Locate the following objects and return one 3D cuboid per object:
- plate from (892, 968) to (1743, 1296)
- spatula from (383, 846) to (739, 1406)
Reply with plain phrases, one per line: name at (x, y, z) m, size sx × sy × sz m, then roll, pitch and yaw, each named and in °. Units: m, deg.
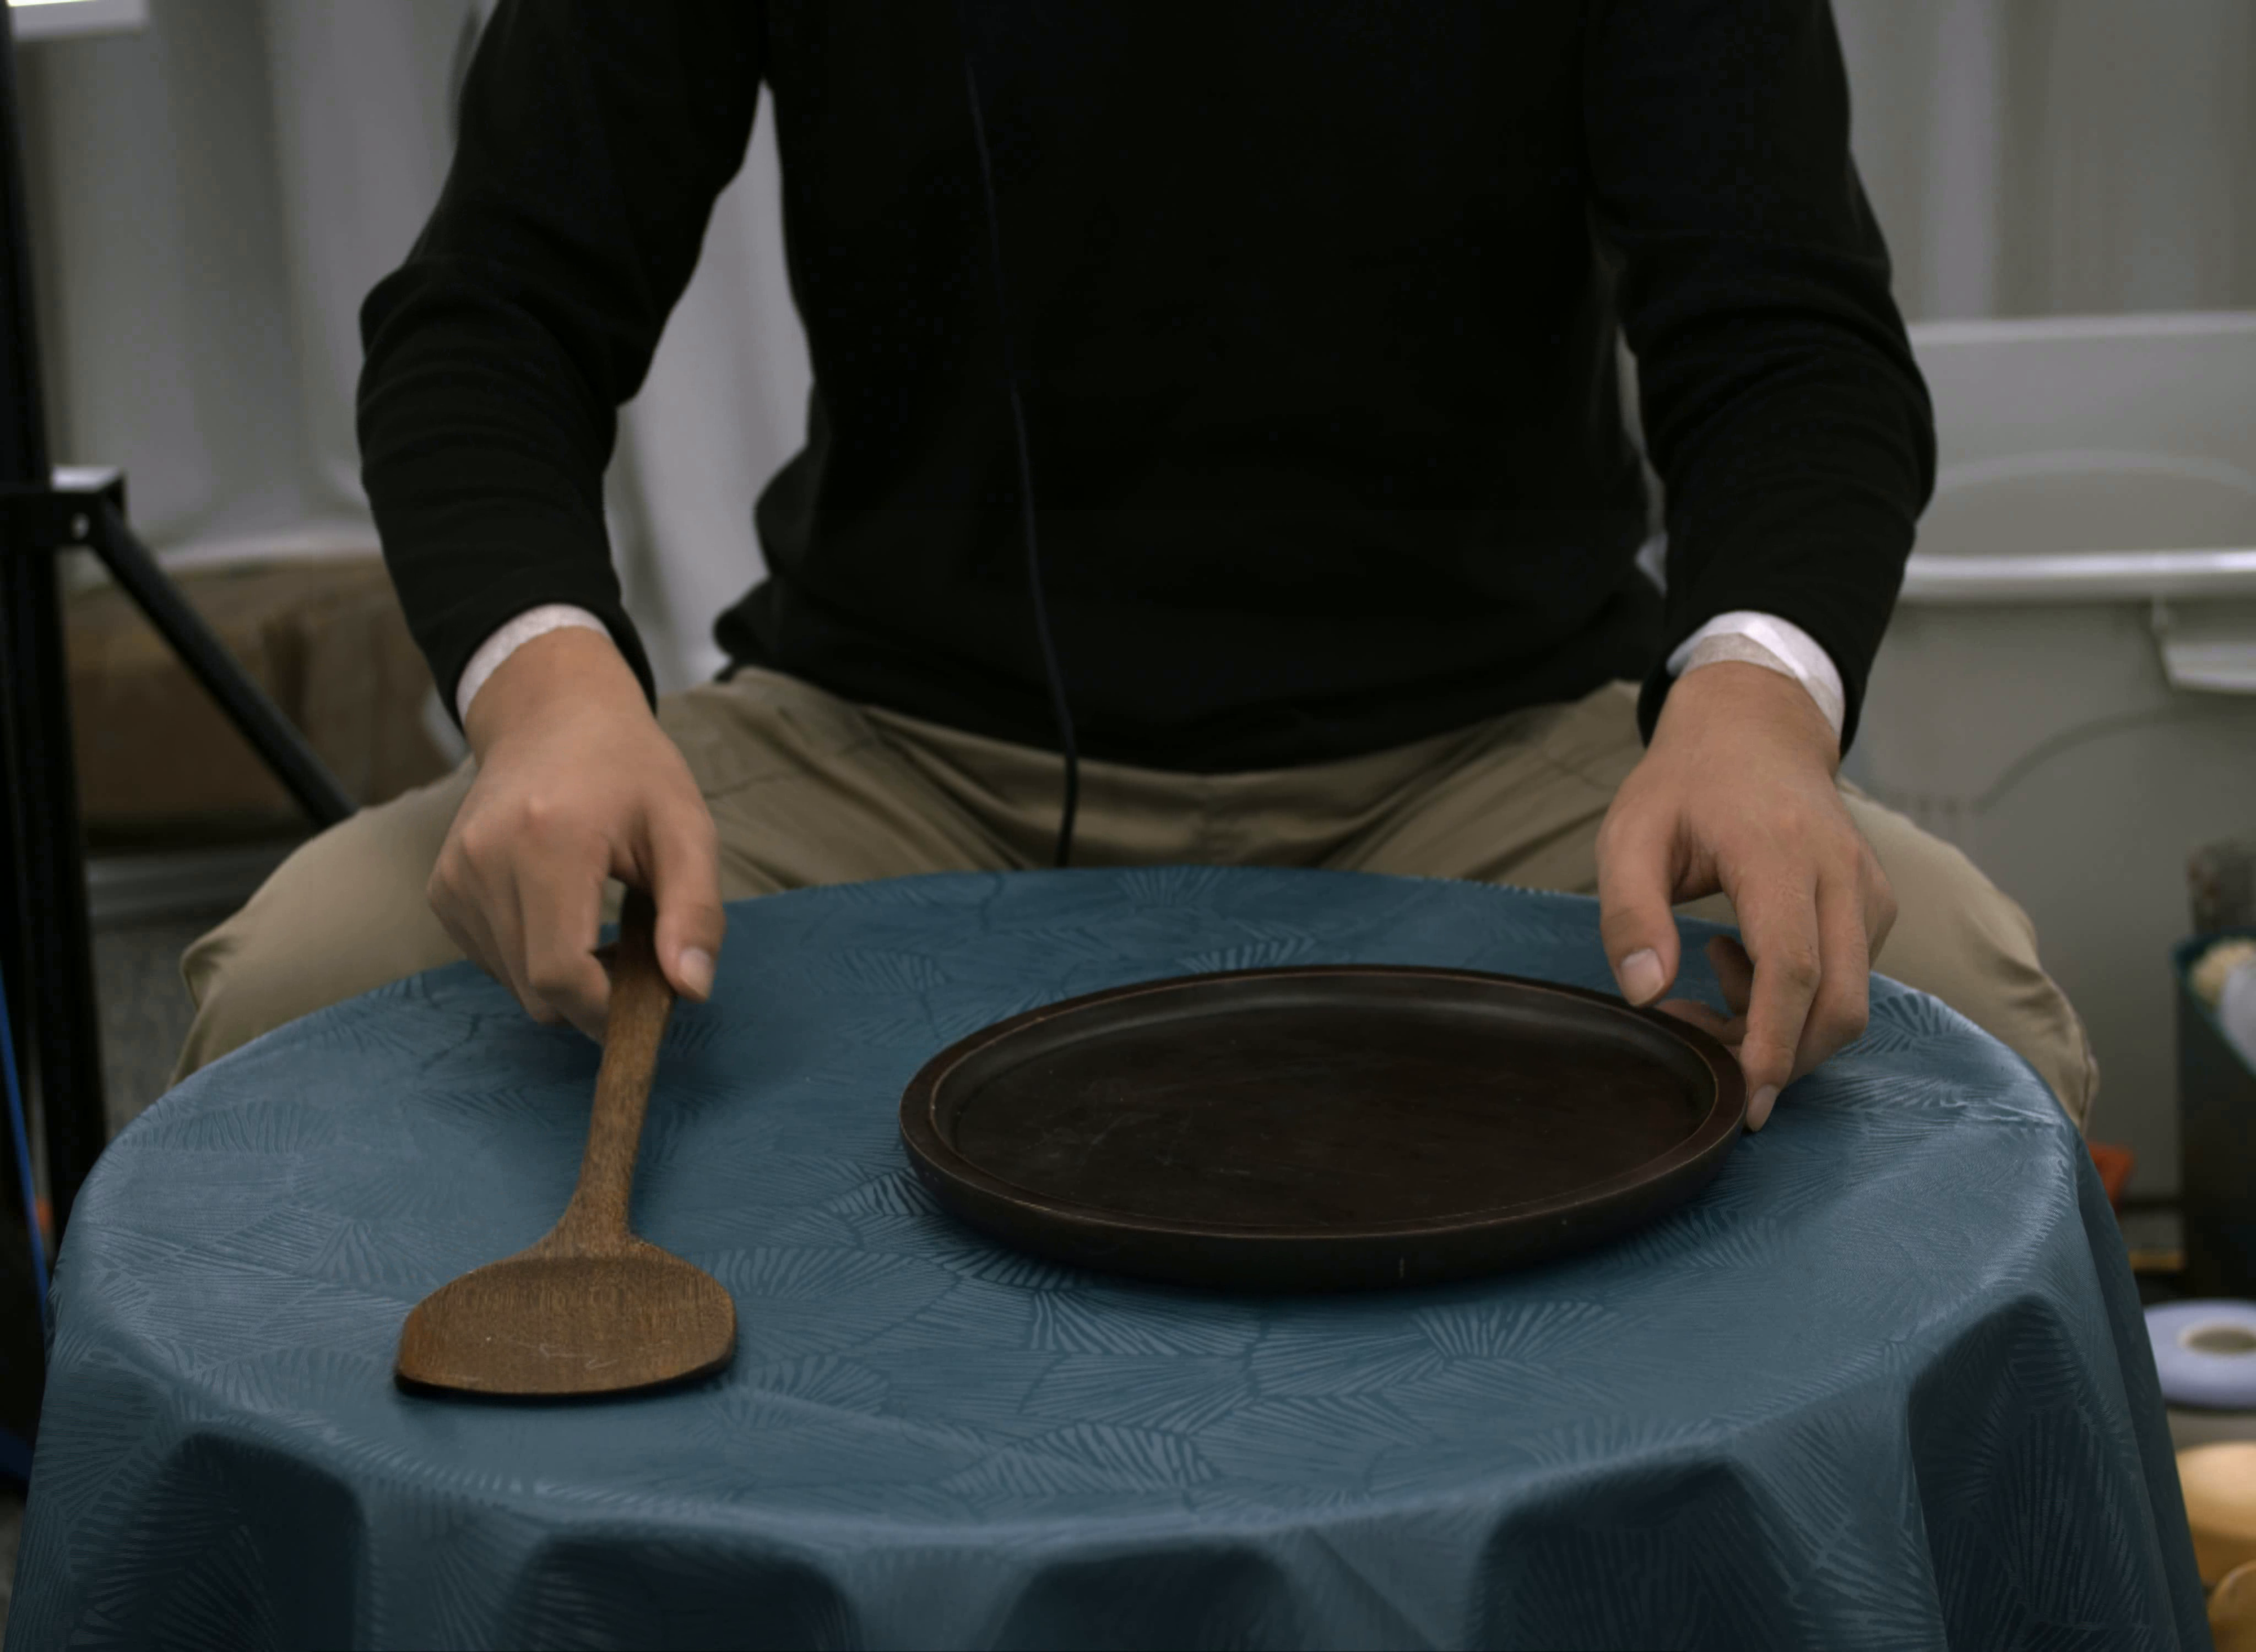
plate at (0.057, 0.088, 1.574) m, size 0.253 × 0.029 × 0.256 m, roll -4°, pitch 15°, yaw 0°
spatula at (-0.154, 0.081, 1.596) m, size 0.096 × 0.016 × 0.388 m, roll -2°, pitch 23°, yaw 1°
